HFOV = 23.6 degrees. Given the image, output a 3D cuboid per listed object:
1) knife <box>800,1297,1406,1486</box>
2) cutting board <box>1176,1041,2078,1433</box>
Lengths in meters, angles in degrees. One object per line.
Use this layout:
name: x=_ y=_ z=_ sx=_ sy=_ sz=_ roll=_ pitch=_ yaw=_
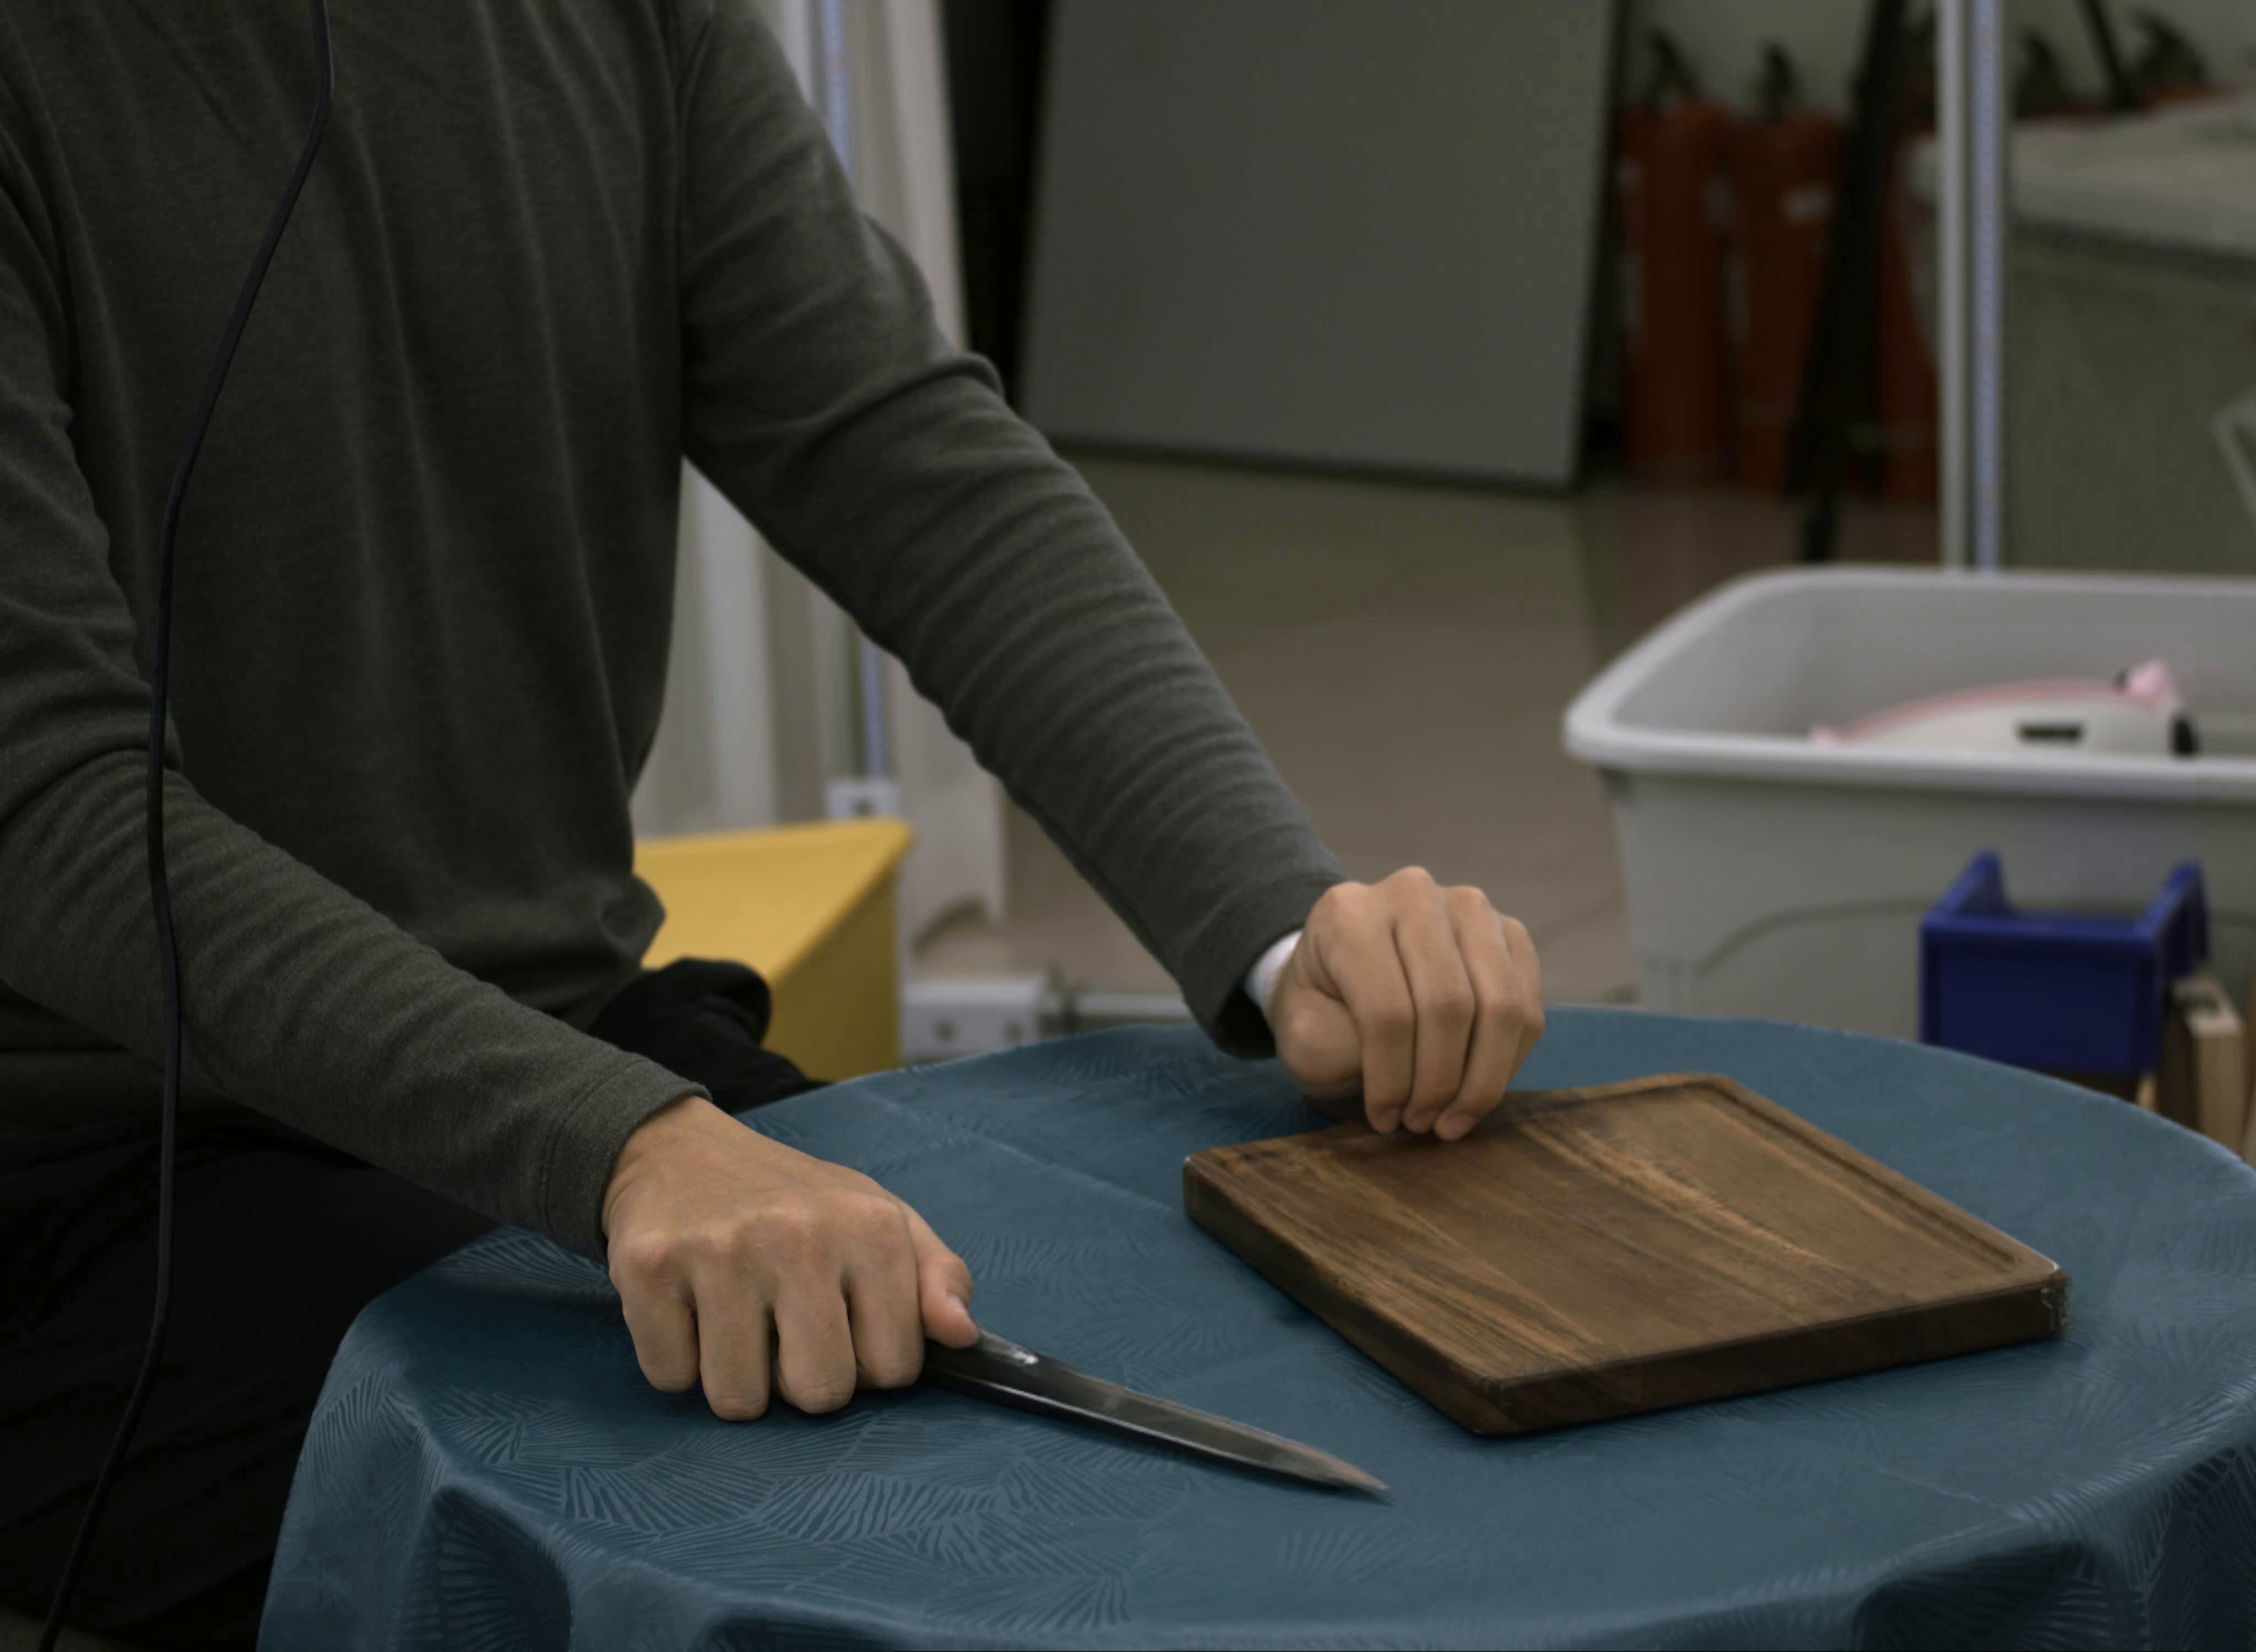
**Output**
knife: x=-0.012 y=0.166 z=1.564 sx=0.240 sy=0.016 sz=0.024 roll=10 pitch=21 yaw=42
cutting board: x=0.131 y=0.118 z=1.708 sx=0.197 sy=0.023 sz=0.355 roll=-8 pitch=14 yaw=-18
